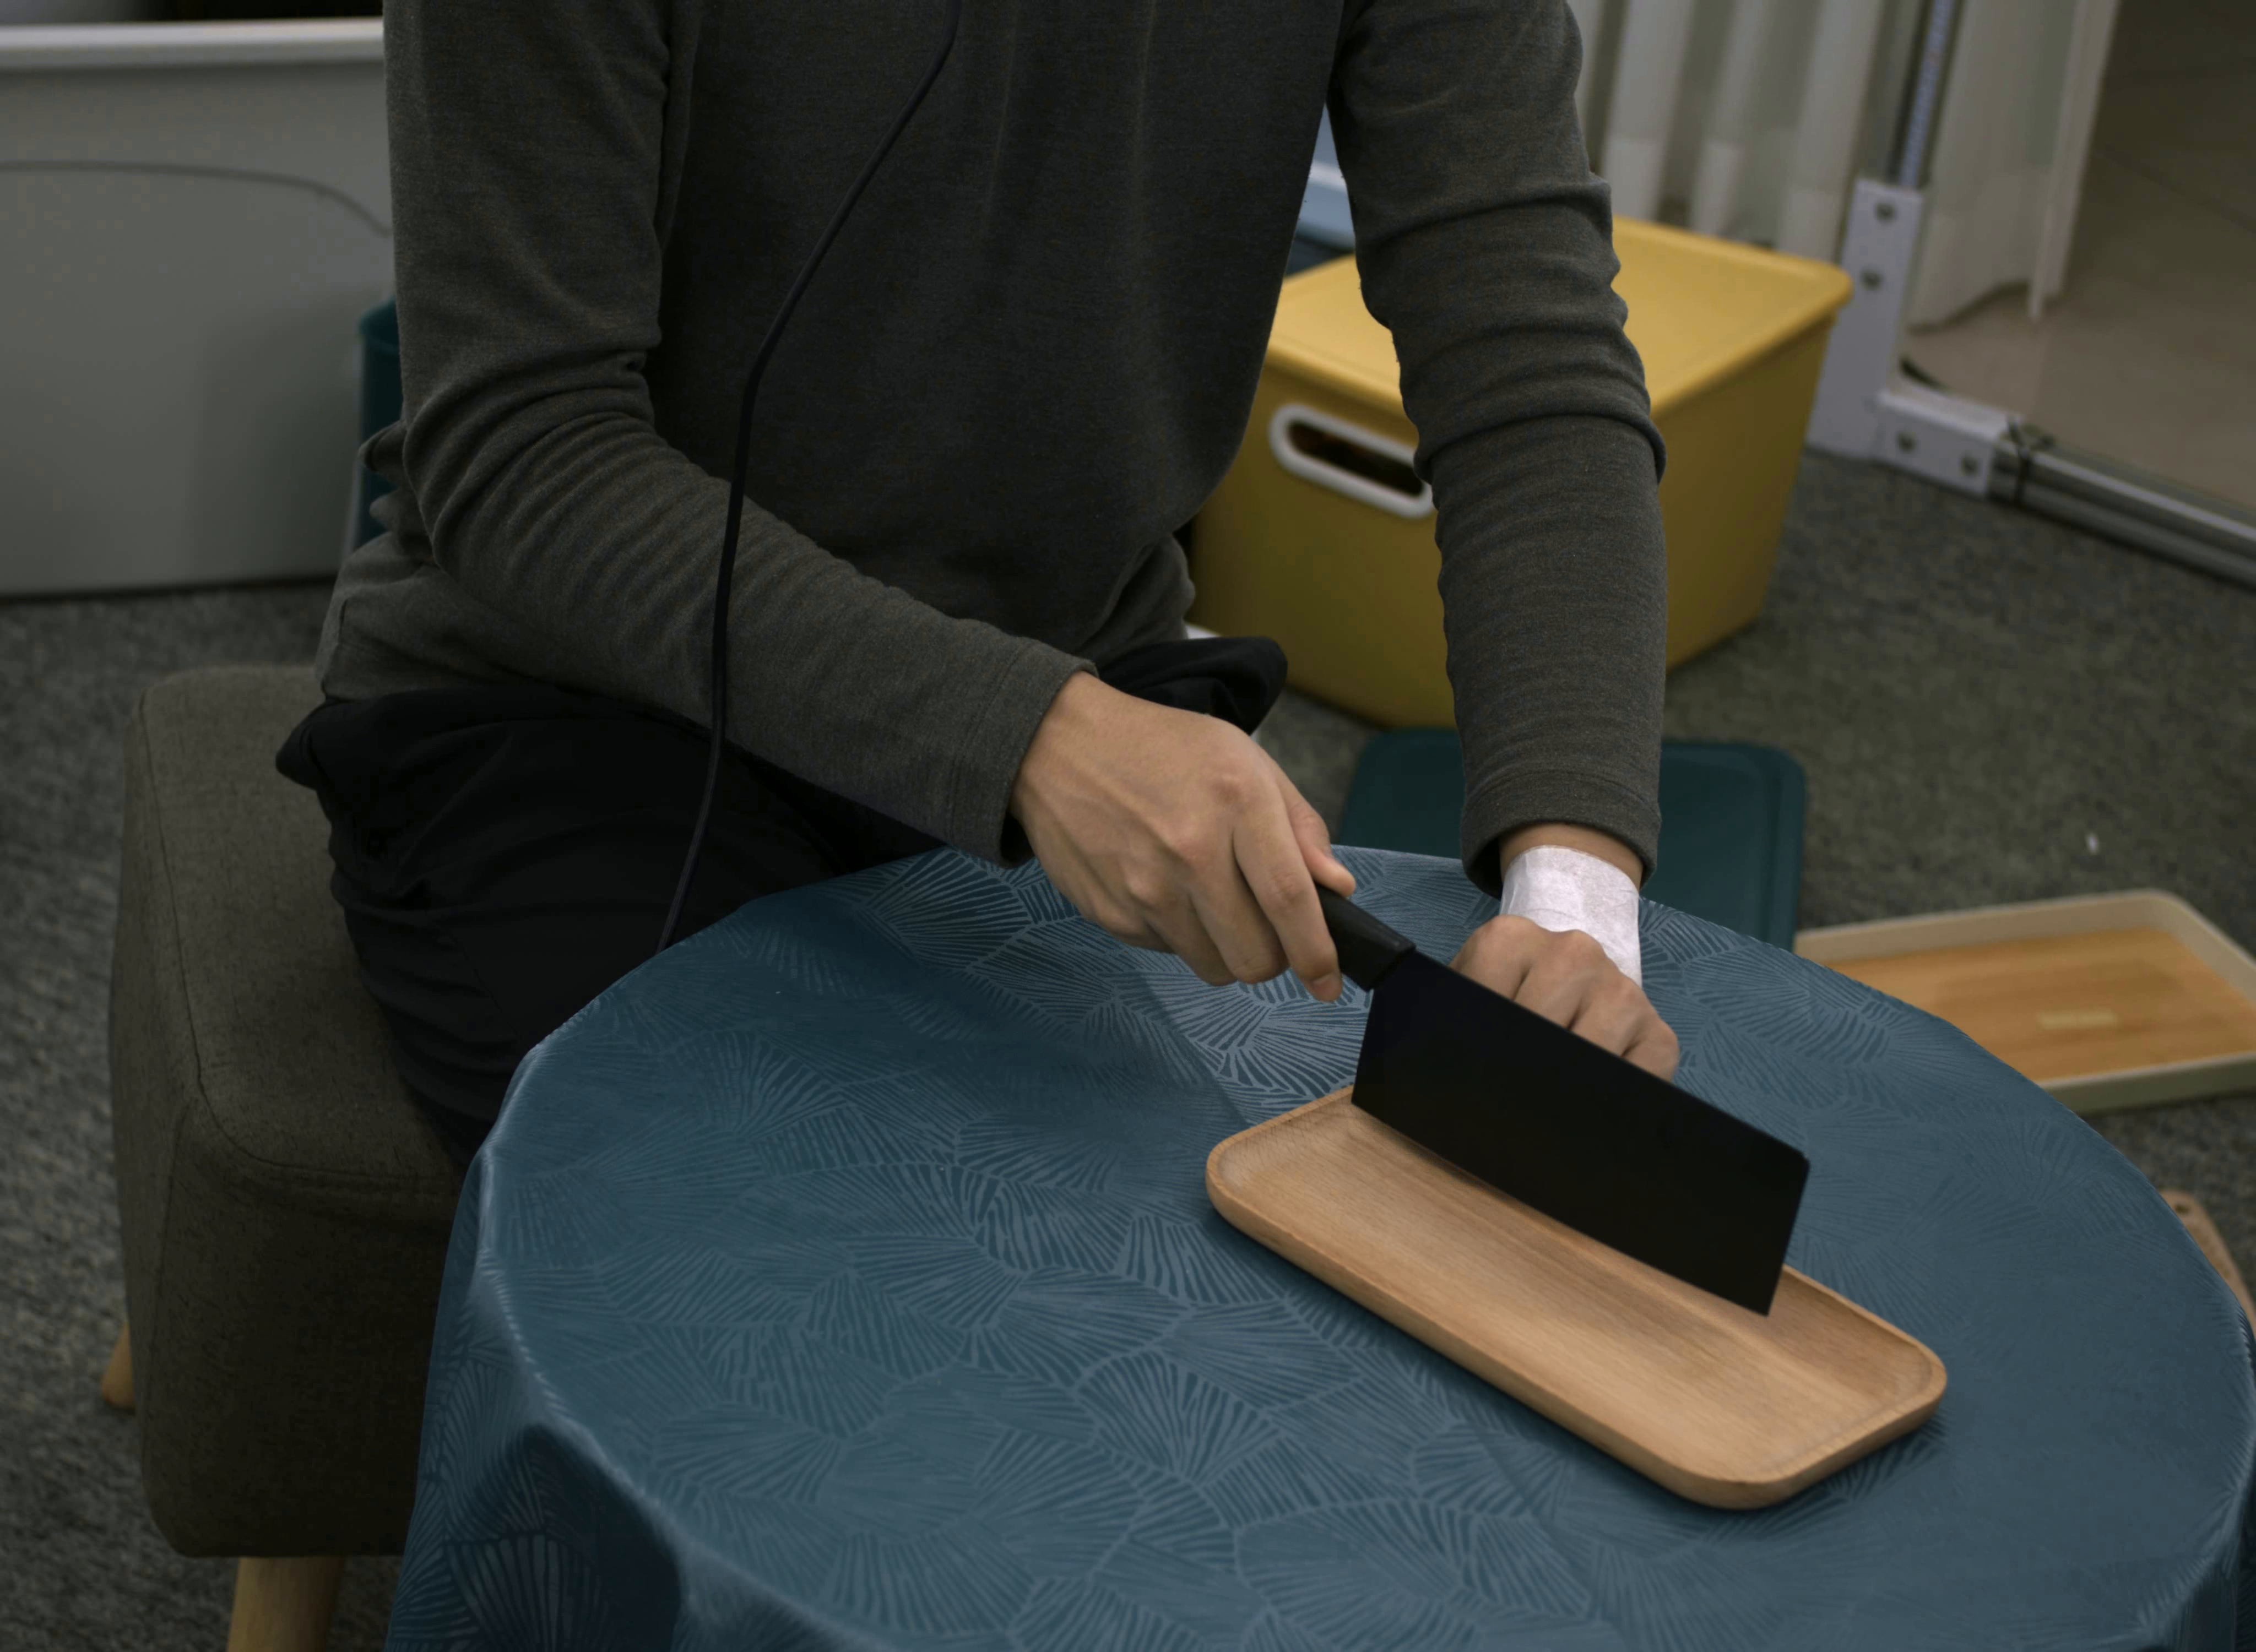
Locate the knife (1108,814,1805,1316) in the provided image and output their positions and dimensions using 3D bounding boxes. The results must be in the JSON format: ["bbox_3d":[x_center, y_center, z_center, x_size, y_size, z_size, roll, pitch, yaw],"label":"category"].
[{"bbox_3d":[0.106,0.075,1.811,0.304,0.081,0.021,33,29,33],"label":"knife"}]

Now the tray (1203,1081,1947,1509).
[{"bbox_3d":[0.145,0.152,1.767,0.130,0.023,0.252,-16,33,-42],"label":"tray"}]
